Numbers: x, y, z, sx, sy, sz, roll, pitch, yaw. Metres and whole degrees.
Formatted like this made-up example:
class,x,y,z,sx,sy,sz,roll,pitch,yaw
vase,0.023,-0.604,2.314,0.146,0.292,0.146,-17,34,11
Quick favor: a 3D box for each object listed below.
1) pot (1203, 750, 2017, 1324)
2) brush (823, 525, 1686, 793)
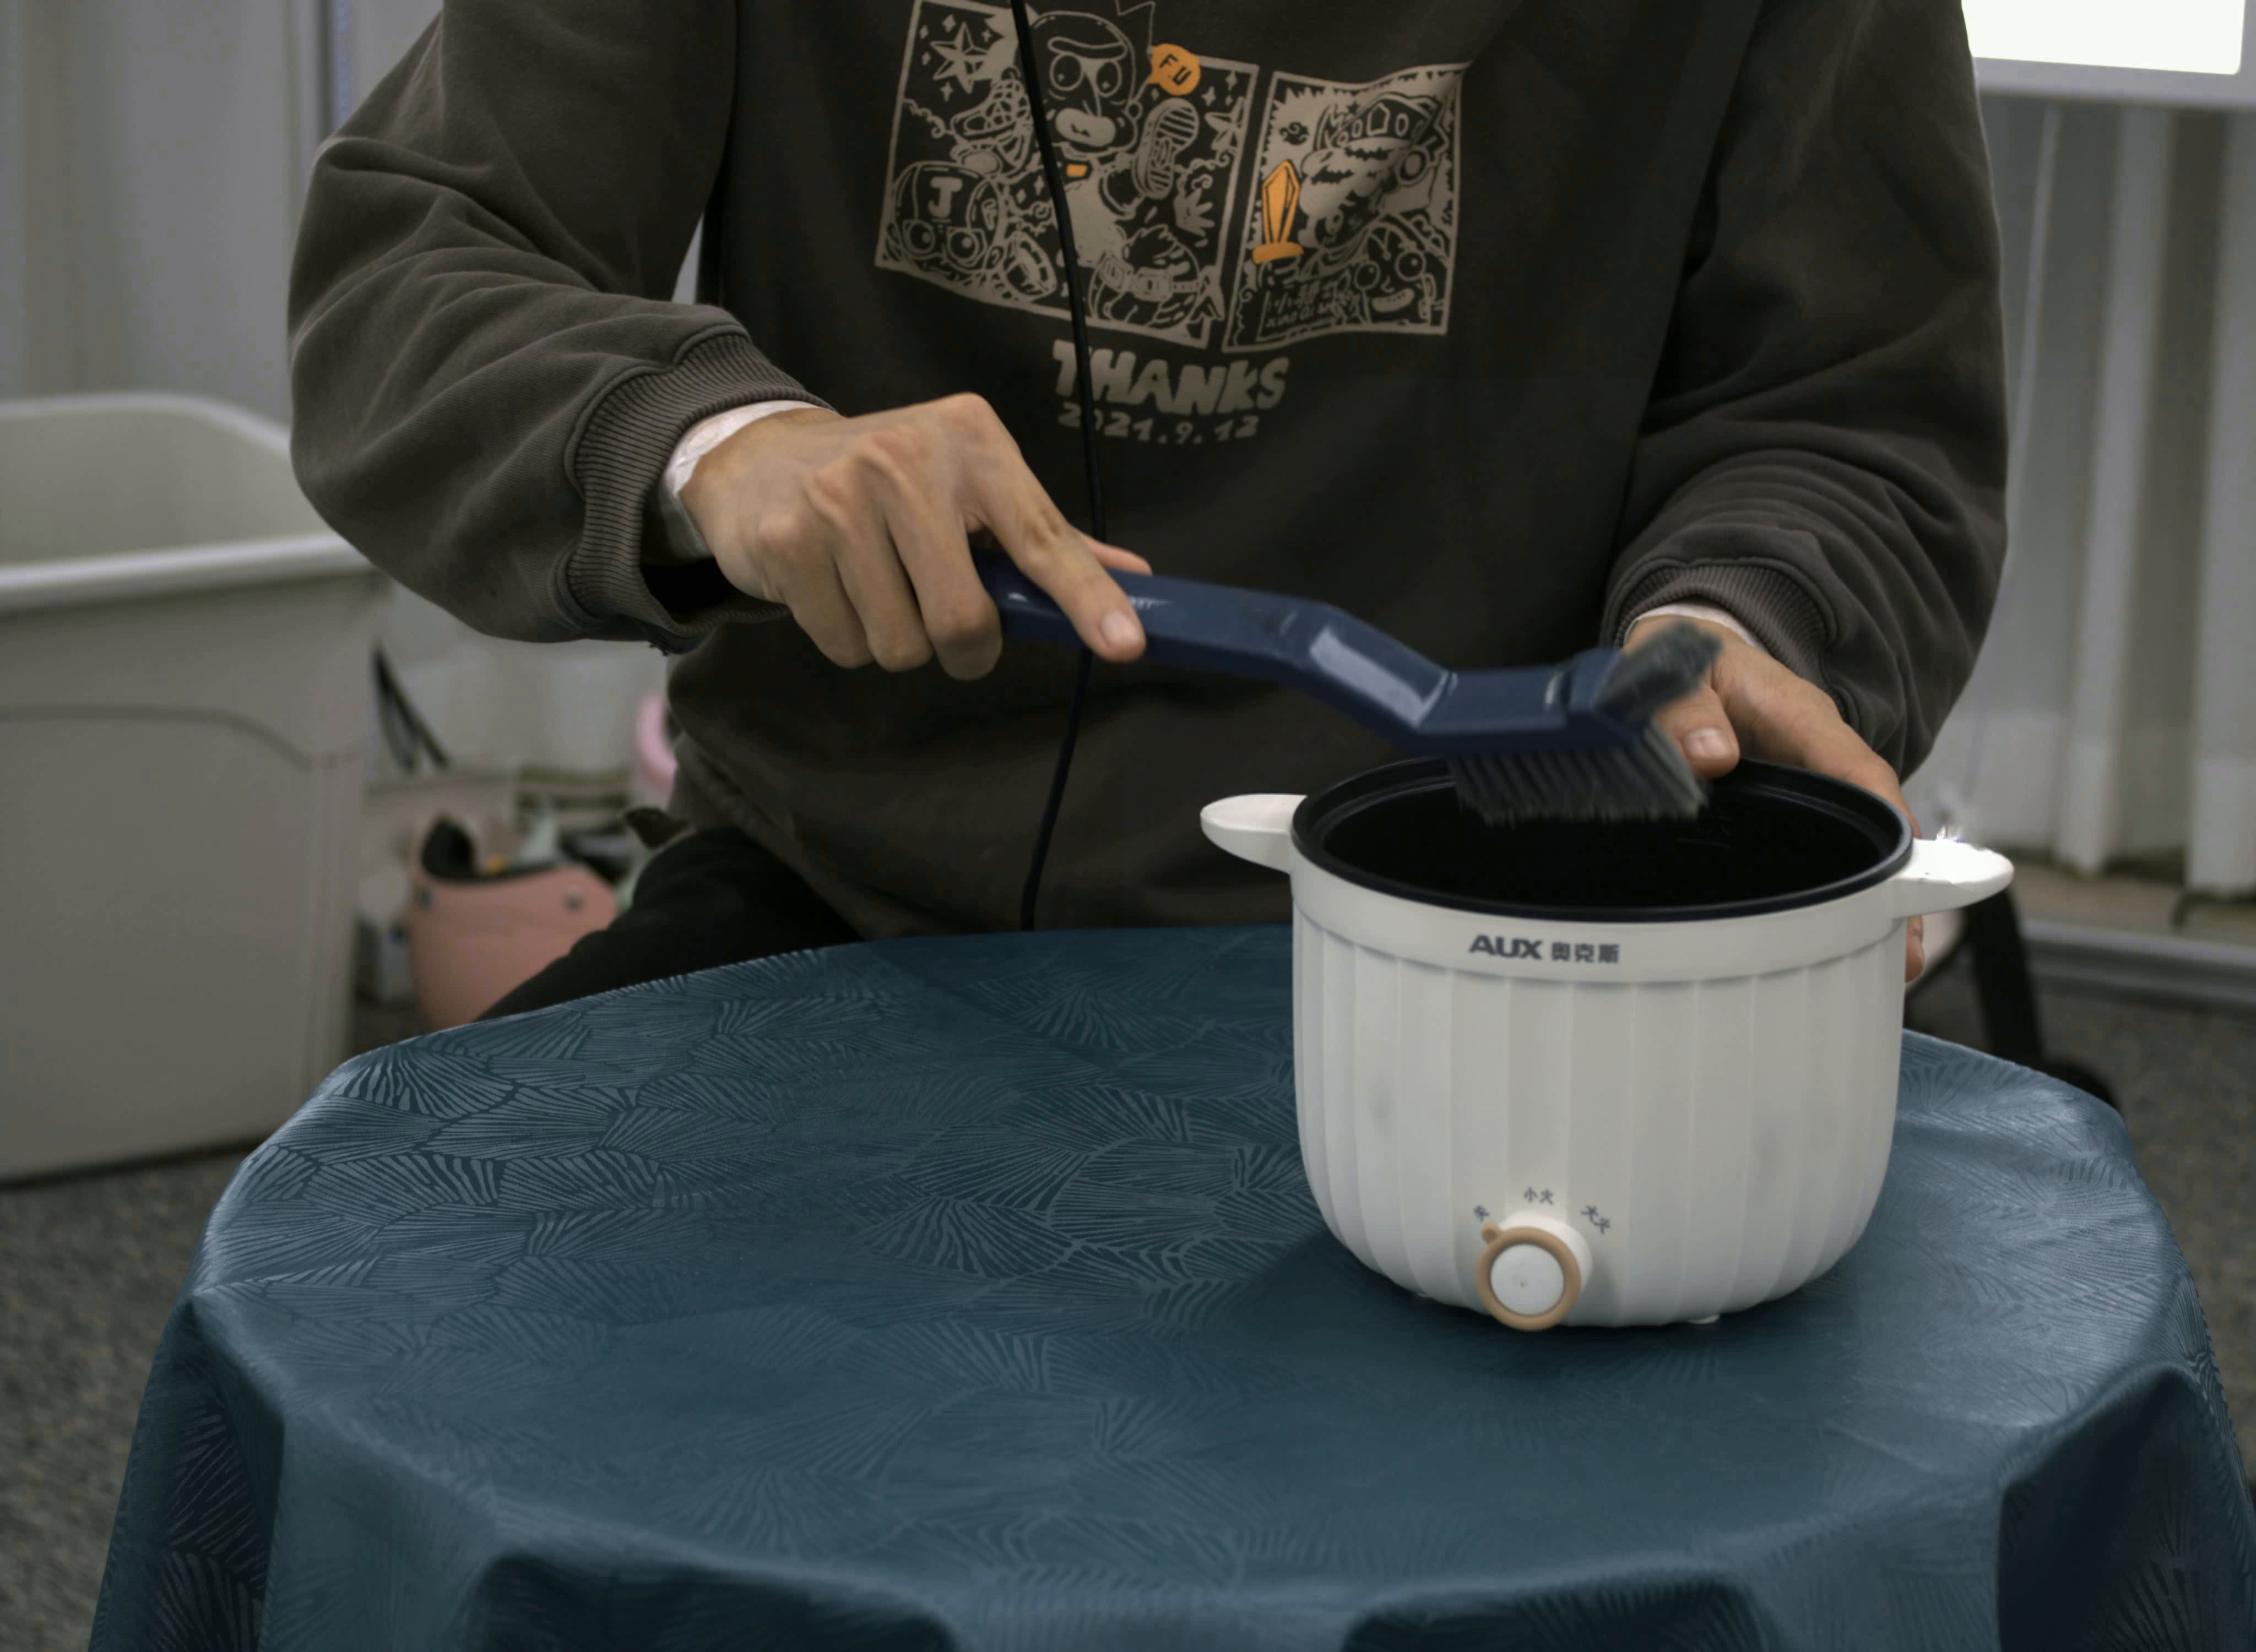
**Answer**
class,x,y,z,sx,sy,sz,roll,pitch,yaw
pot,0.138,0.064,1.548,0.238,0.143,0.190,3,13,13
brush,0.032,-0.062,1.482,0.270,0.097,0.033,16,54,22
